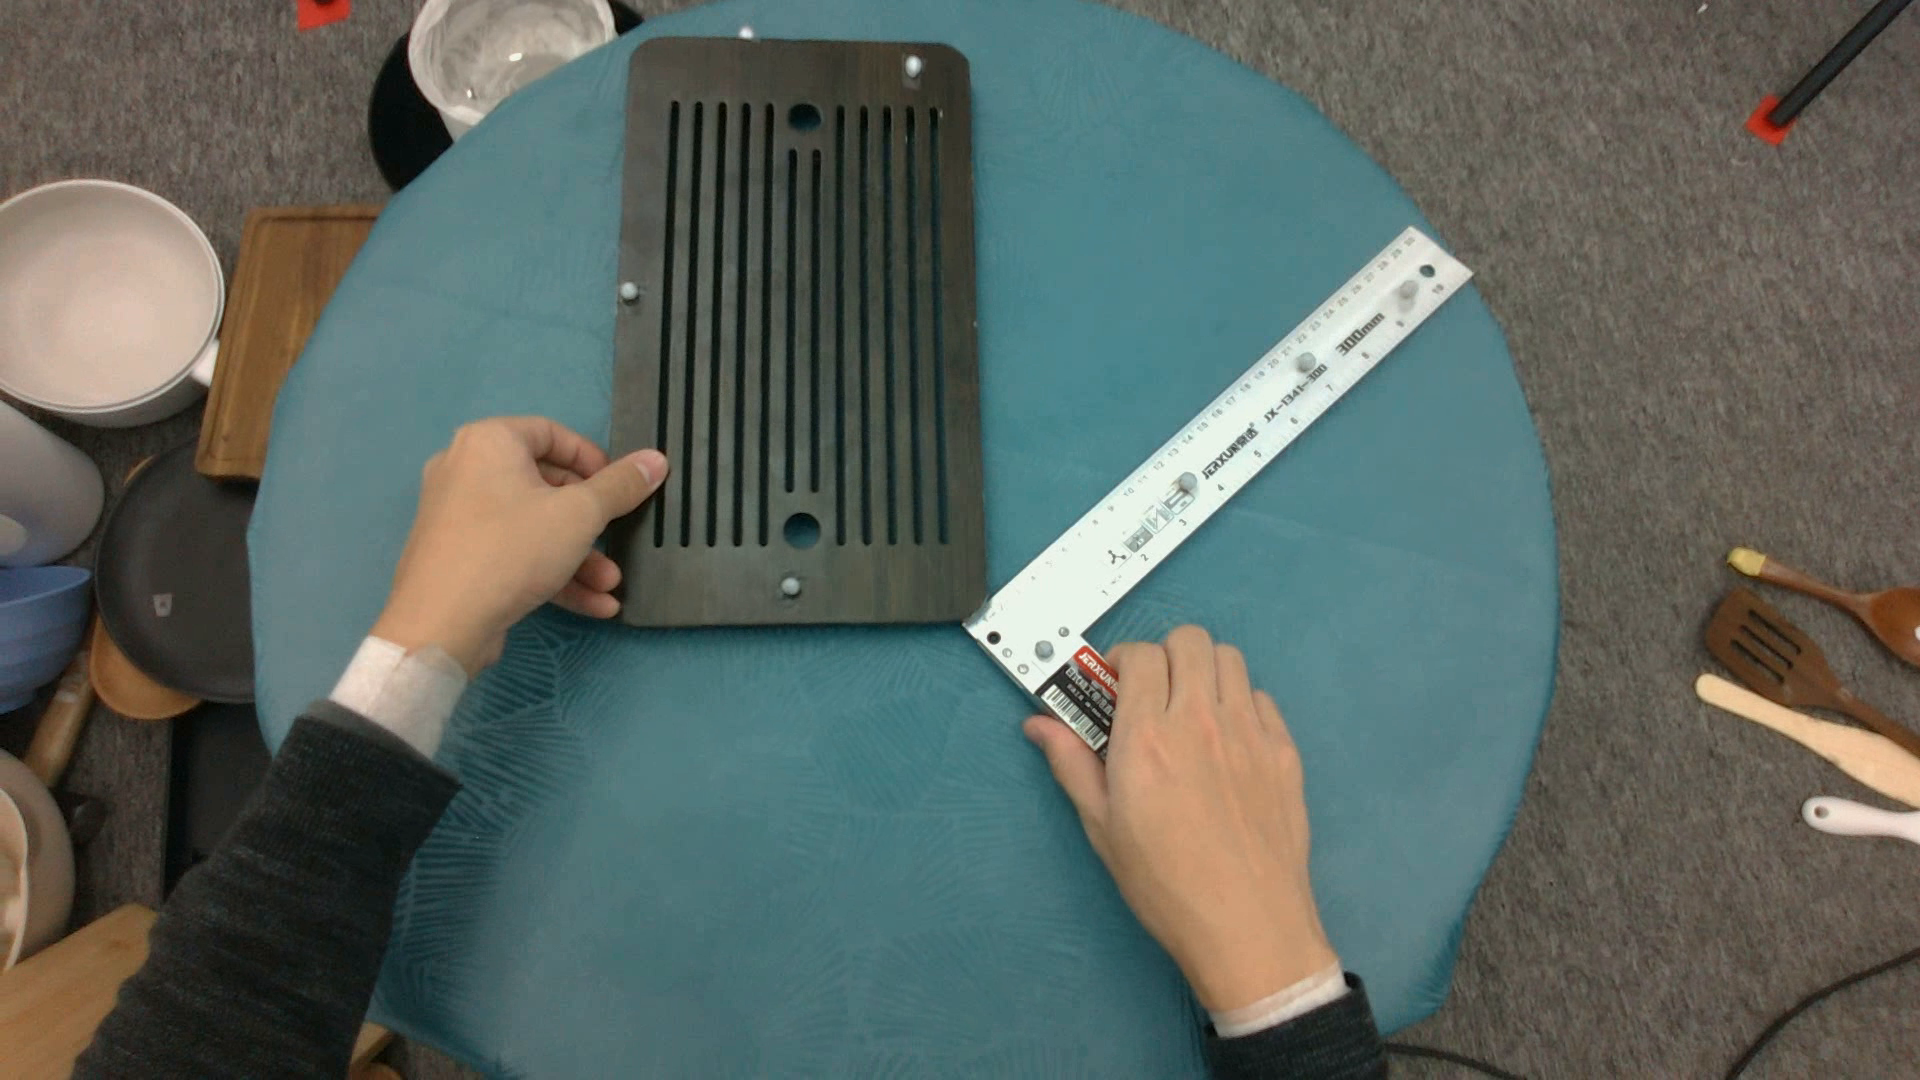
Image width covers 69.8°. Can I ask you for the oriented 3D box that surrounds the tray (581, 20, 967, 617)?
[{"bbox_3d":[-0.087,-0.112,0.653,0.170,0.018,0.306,-1,73,-5],"label":"tray"}]

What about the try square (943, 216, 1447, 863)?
[{"bbox_3d":[0.154,-0.014,0.635,0.314,0.016,0.152,-41,74,-15],"label":"try square"}]
